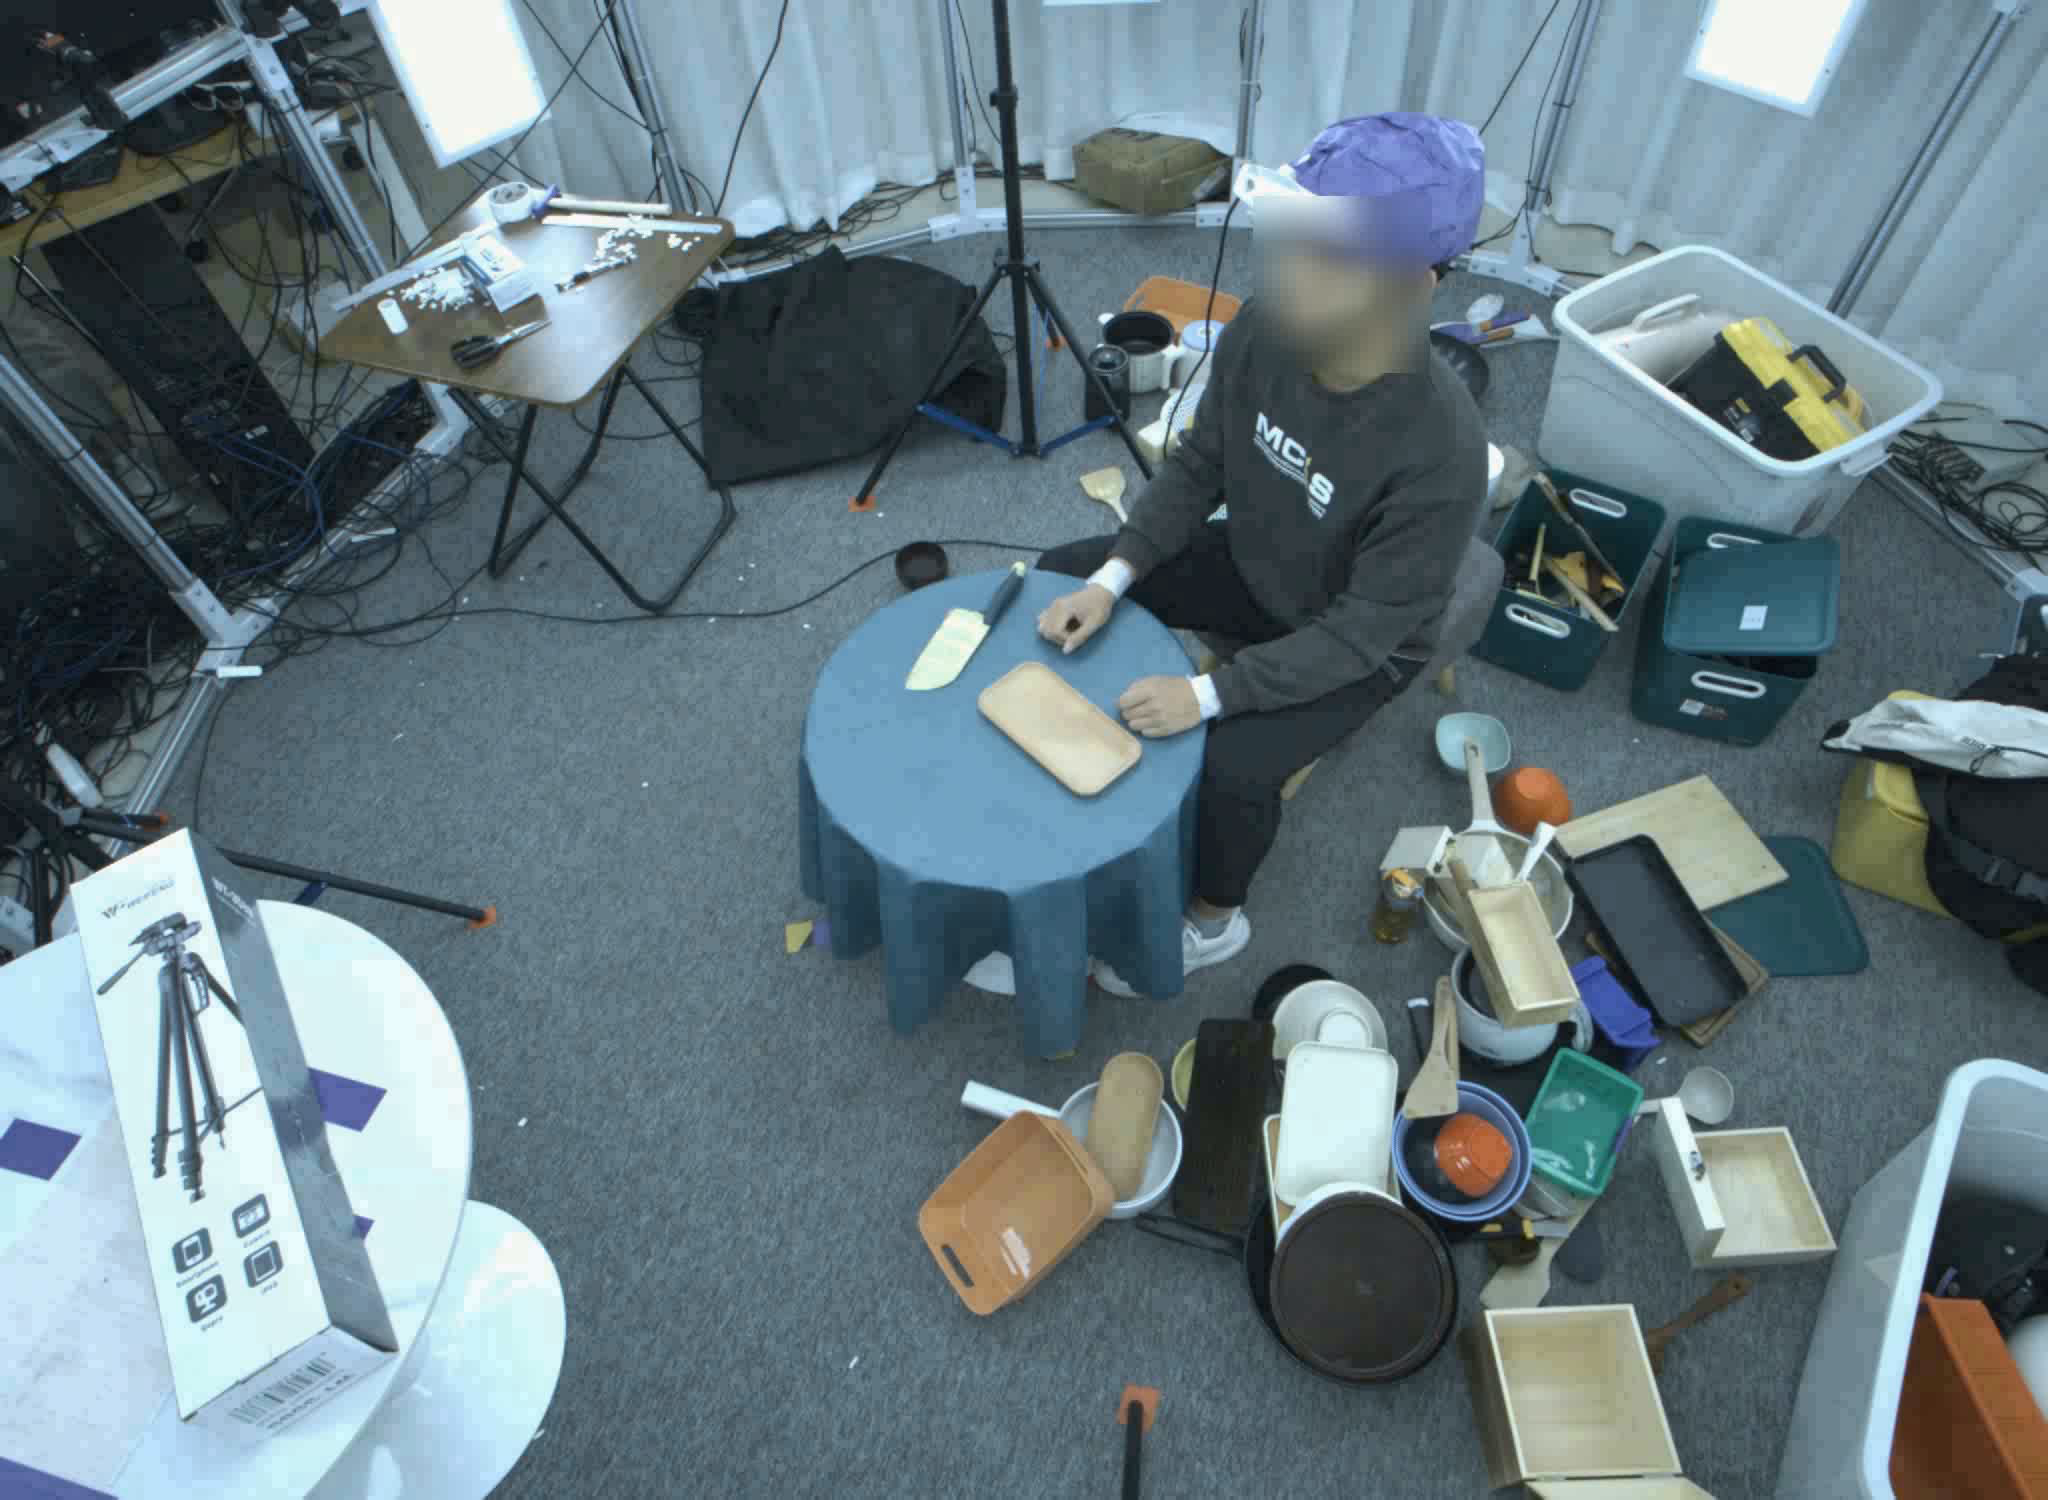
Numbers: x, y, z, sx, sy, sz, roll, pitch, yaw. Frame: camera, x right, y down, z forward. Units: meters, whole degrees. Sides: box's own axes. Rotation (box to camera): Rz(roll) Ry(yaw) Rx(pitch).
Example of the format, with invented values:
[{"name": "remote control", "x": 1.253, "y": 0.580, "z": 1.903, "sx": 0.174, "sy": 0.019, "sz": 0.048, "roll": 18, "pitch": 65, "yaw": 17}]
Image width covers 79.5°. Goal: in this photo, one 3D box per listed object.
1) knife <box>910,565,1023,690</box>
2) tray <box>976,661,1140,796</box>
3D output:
[{"name": "knife", "x": -0.089, "y": -0.196, "z": 1.928, "sx": 0.080, "sy": 0.027, "sz": 0.290, "roll": 26, "pitch": 60, "yaw": 17}, {"name": "tray", "x": 0.047, "y": -0.034, "z": 1.808, "sx": 0.131, "sy": 0.023, "sz": 0.246, "roll": -36, "pitch": 61, "yaw": -25}]
